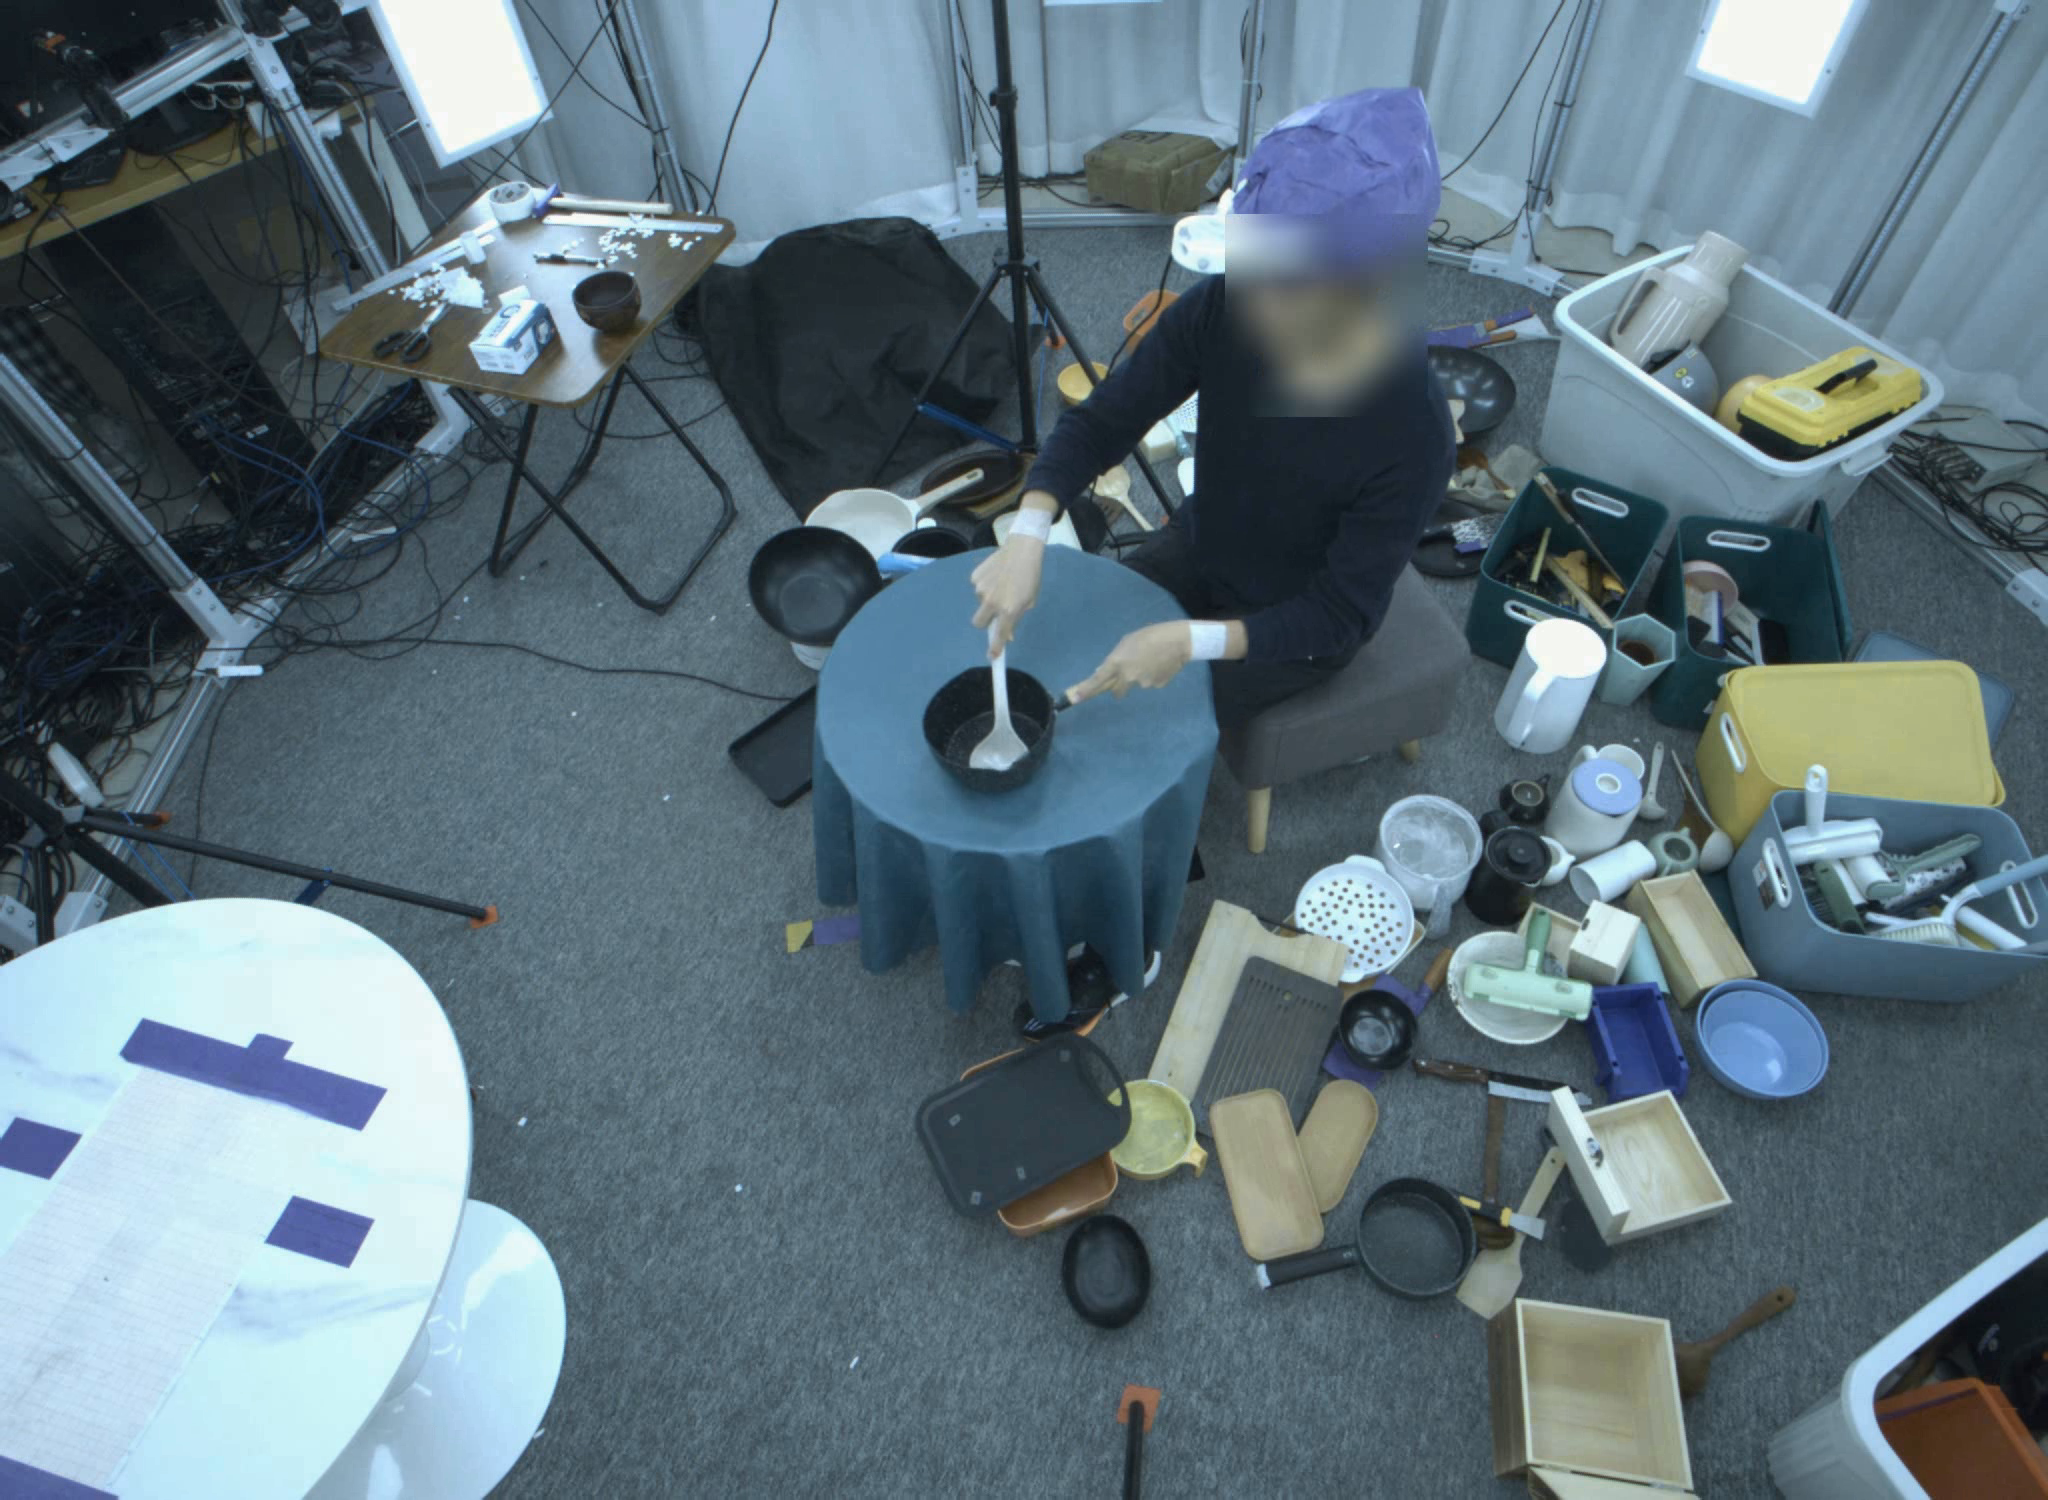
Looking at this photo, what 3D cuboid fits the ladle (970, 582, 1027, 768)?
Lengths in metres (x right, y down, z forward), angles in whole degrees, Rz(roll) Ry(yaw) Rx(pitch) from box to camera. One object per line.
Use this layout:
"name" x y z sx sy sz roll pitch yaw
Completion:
"ladle" -0.043 -0.090 1.698 0.088 0.277 0.070 6 21 27

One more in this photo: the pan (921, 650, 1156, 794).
"pan" 0.027 -0.055 1.745 0.344 0.110 0.204 -19 52 -4
